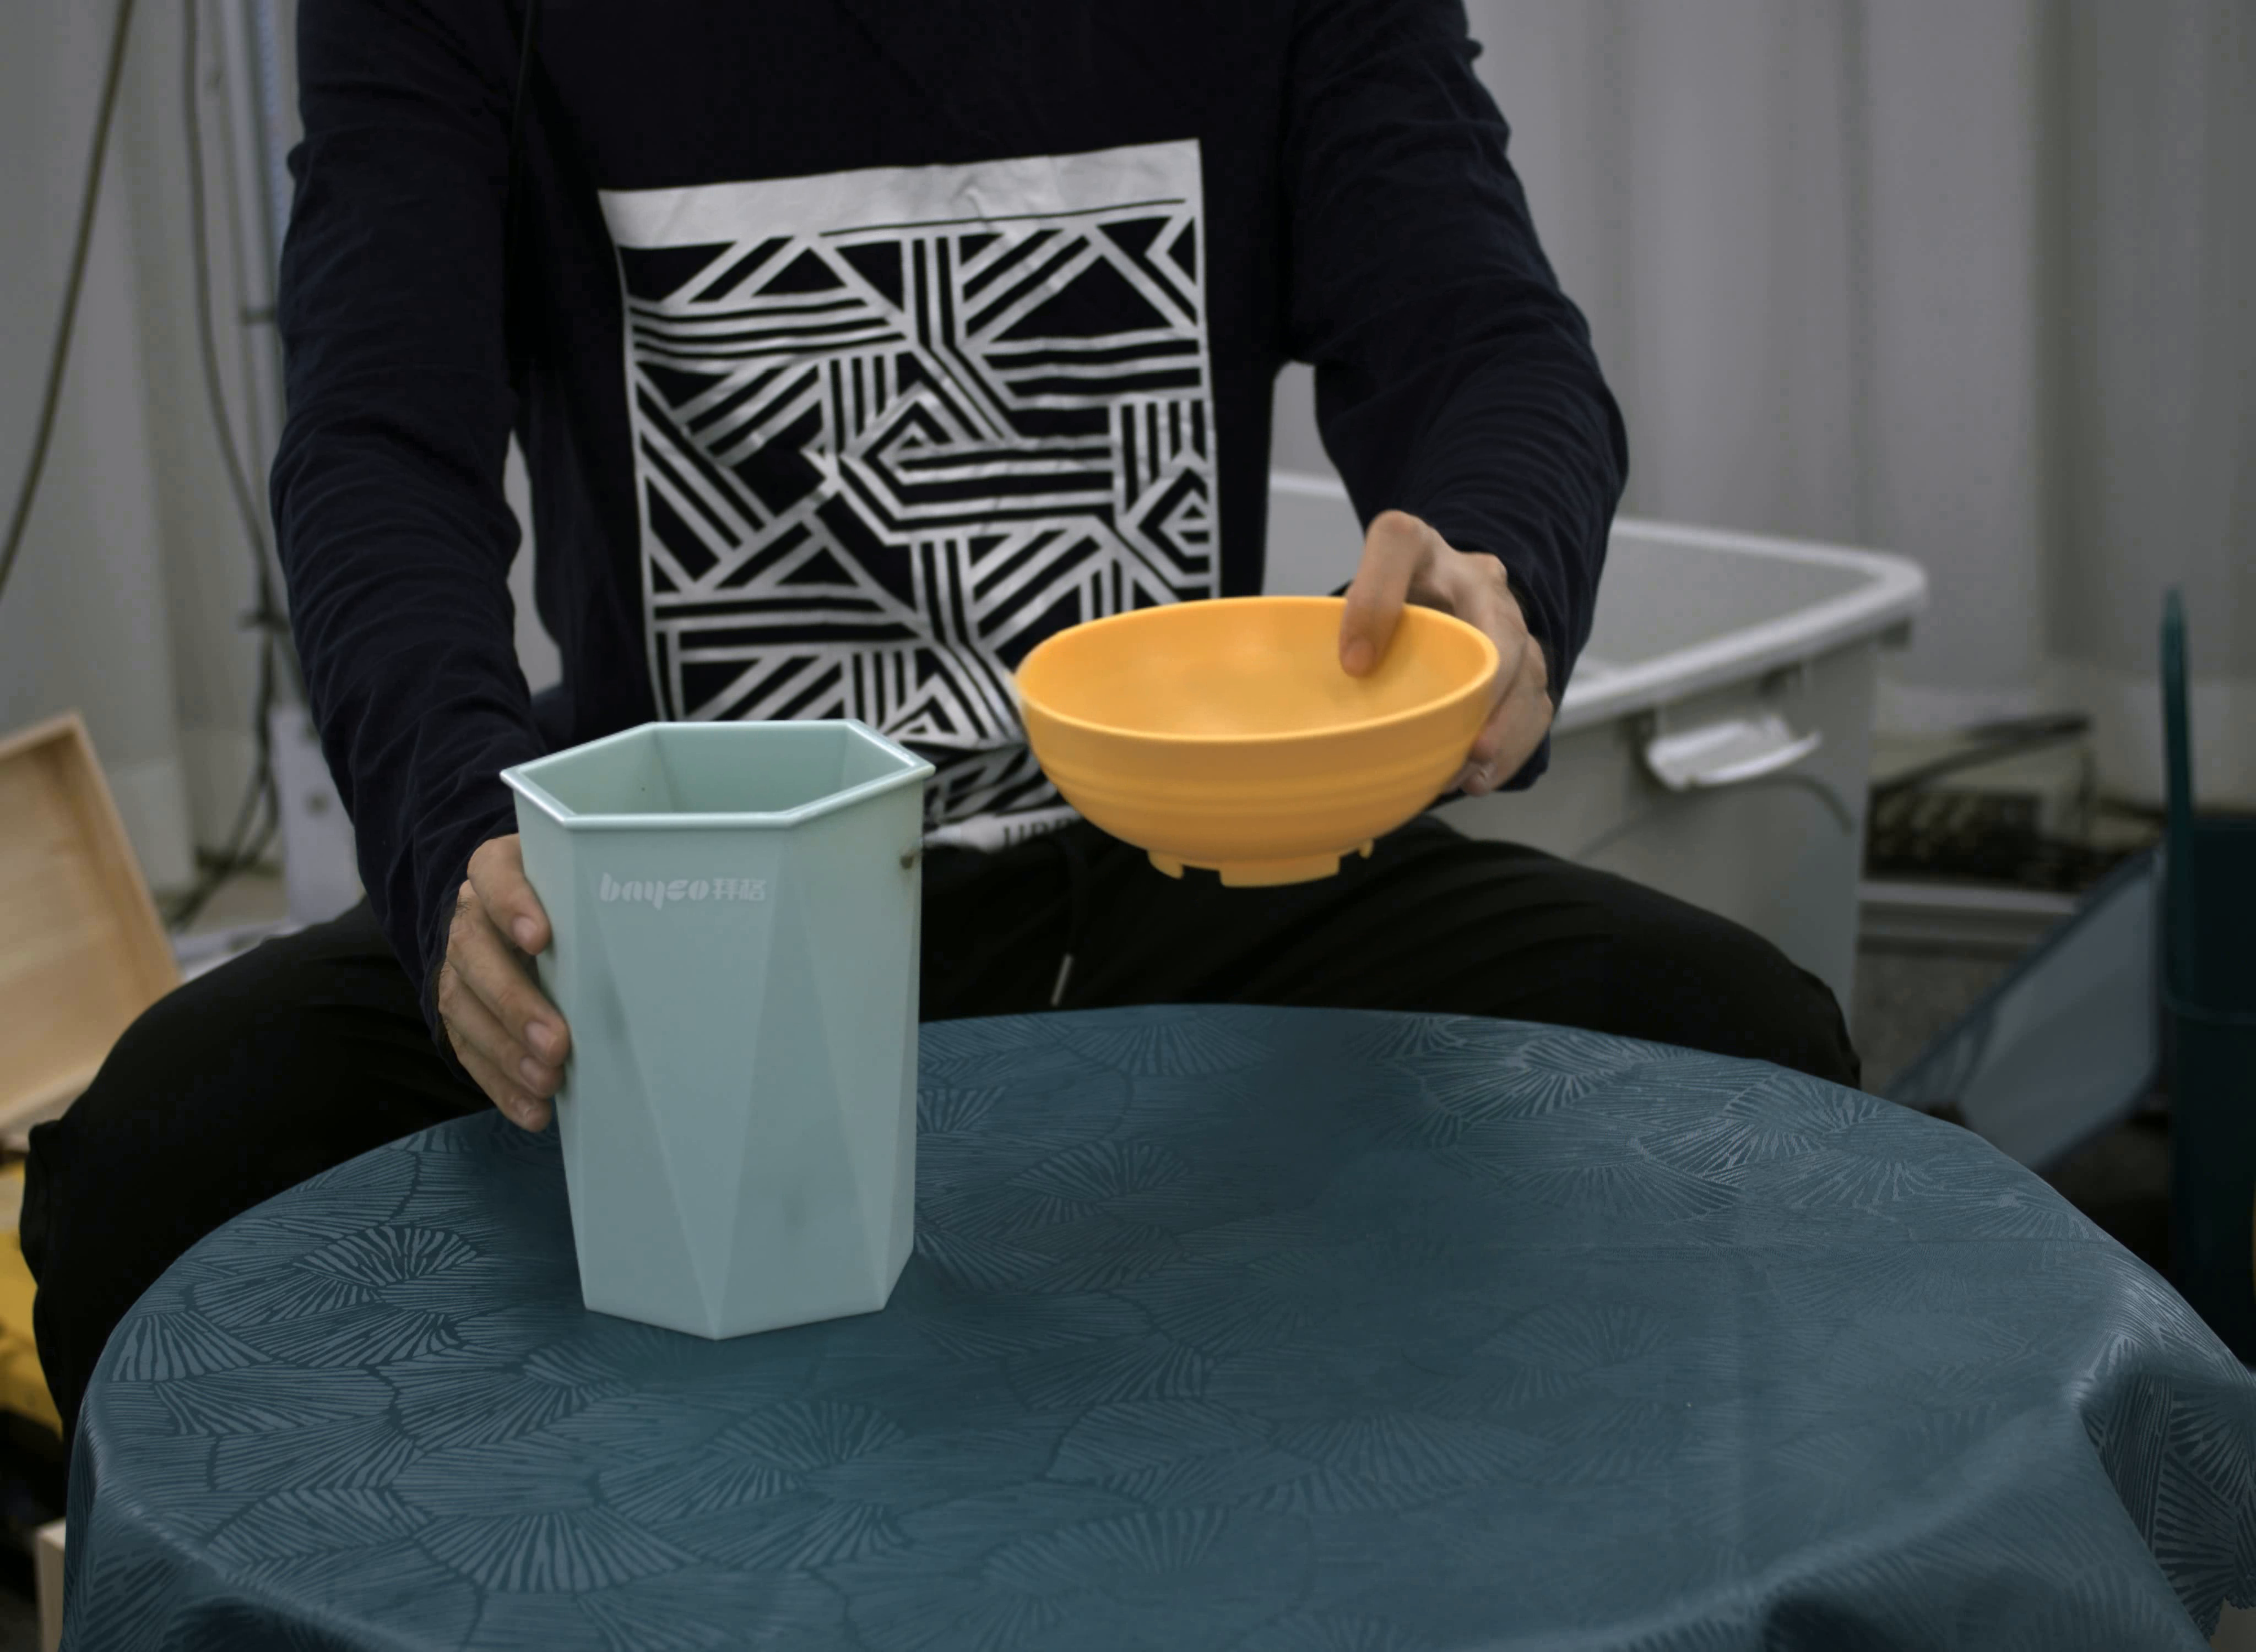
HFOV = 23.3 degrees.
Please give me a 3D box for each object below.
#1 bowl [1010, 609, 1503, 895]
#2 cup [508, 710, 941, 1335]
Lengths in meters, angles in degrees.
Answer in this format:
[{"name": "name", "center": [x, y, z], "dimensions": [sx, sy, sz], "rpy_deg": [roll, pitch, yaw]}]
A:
[{"name": "bowl", "center": [0.038, -0.017, 1.606], "dimensions": [0.145, 0.060, 0.146], "rpy_deg": [-1, 16, 0]}, {"name": "cup", "center": [-0.117, 0.058, 1.630], "dimensions": [0.131, 0.162, 0.116], "rpy_deg": [0, 14, 6]}]
